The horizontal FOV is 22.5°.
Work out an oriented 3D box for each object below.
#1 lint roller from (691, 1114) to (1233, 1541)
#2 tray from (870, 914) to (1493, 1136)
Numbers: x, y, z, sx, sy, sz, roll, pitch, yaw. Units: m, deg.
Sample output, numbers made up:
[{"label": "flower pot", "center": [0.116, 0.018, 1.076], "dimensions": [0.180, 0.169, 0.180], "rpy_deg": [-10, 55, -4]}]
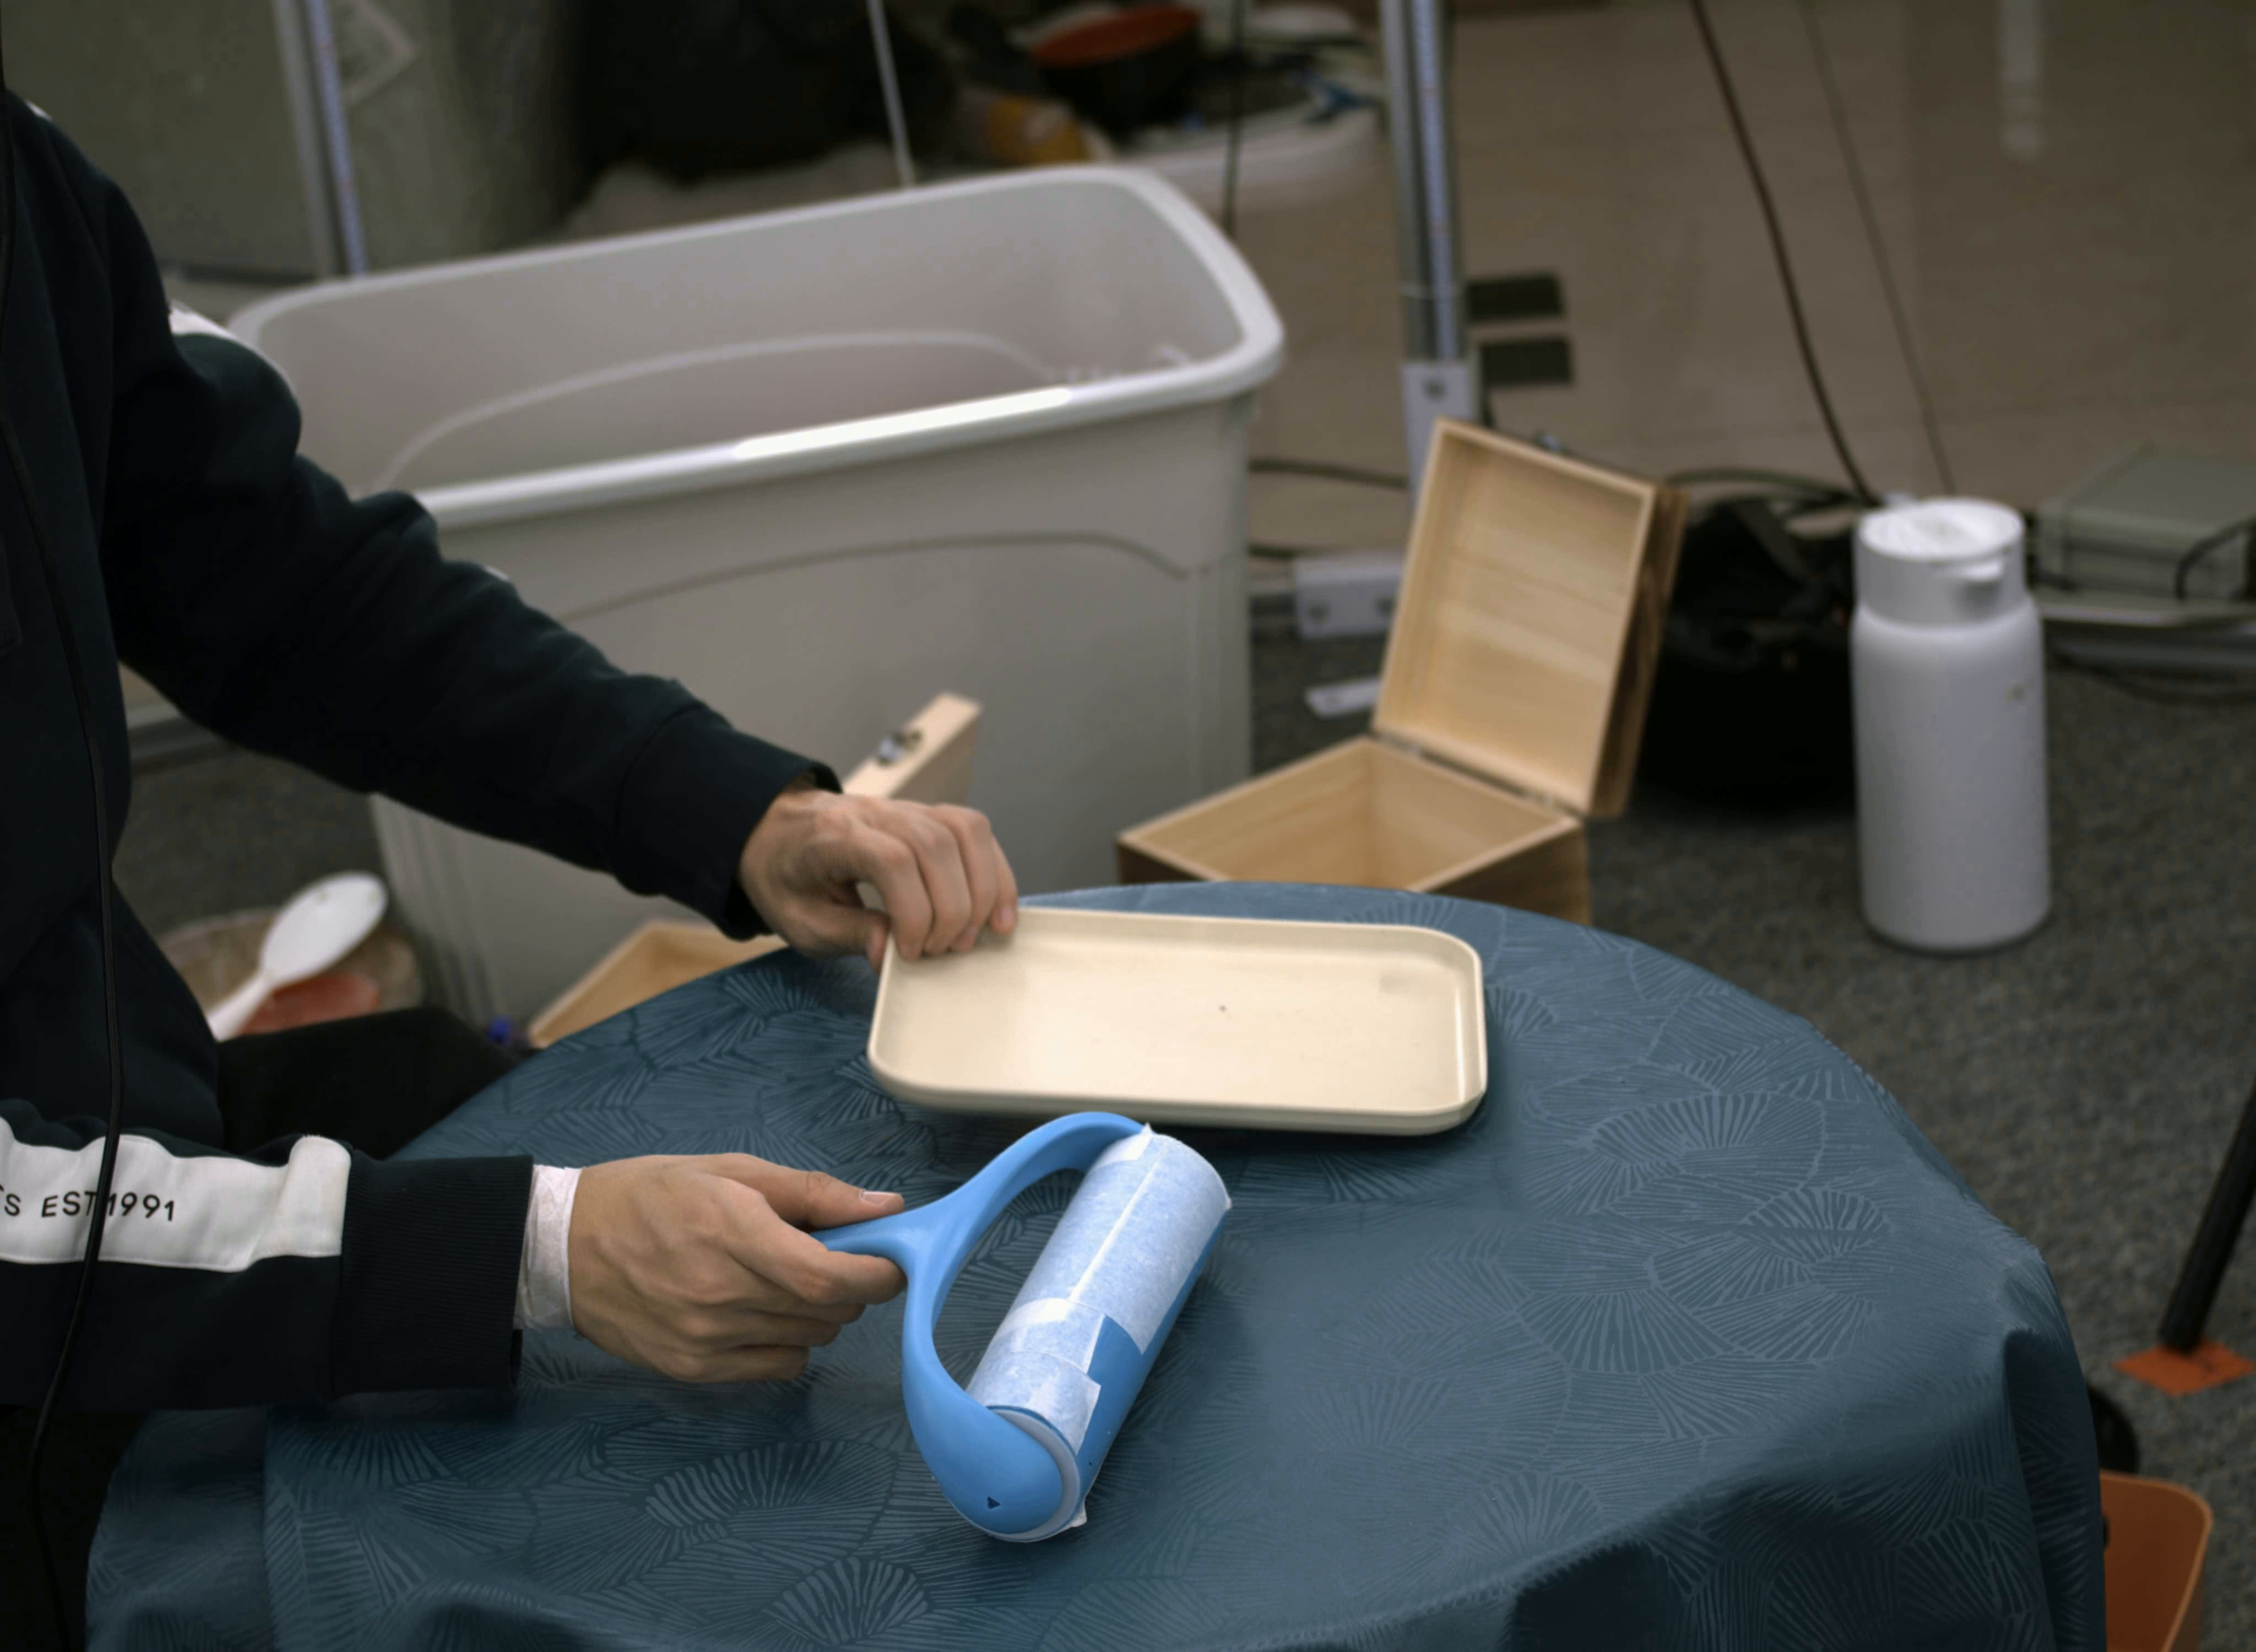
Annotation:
[{"label": "lint roller", "center": [-0.070, 0.171, 2.011], "dimensions": [0.180, 0.069, 0.225], "rpy_deg": [7, 29, 11]}, {"label": "tray", "center": [0.022, 0.078, 2.216], "dimensions": [0.239, 0.018, 0.169], "rpy_deg": [2, 24, 2]}]
